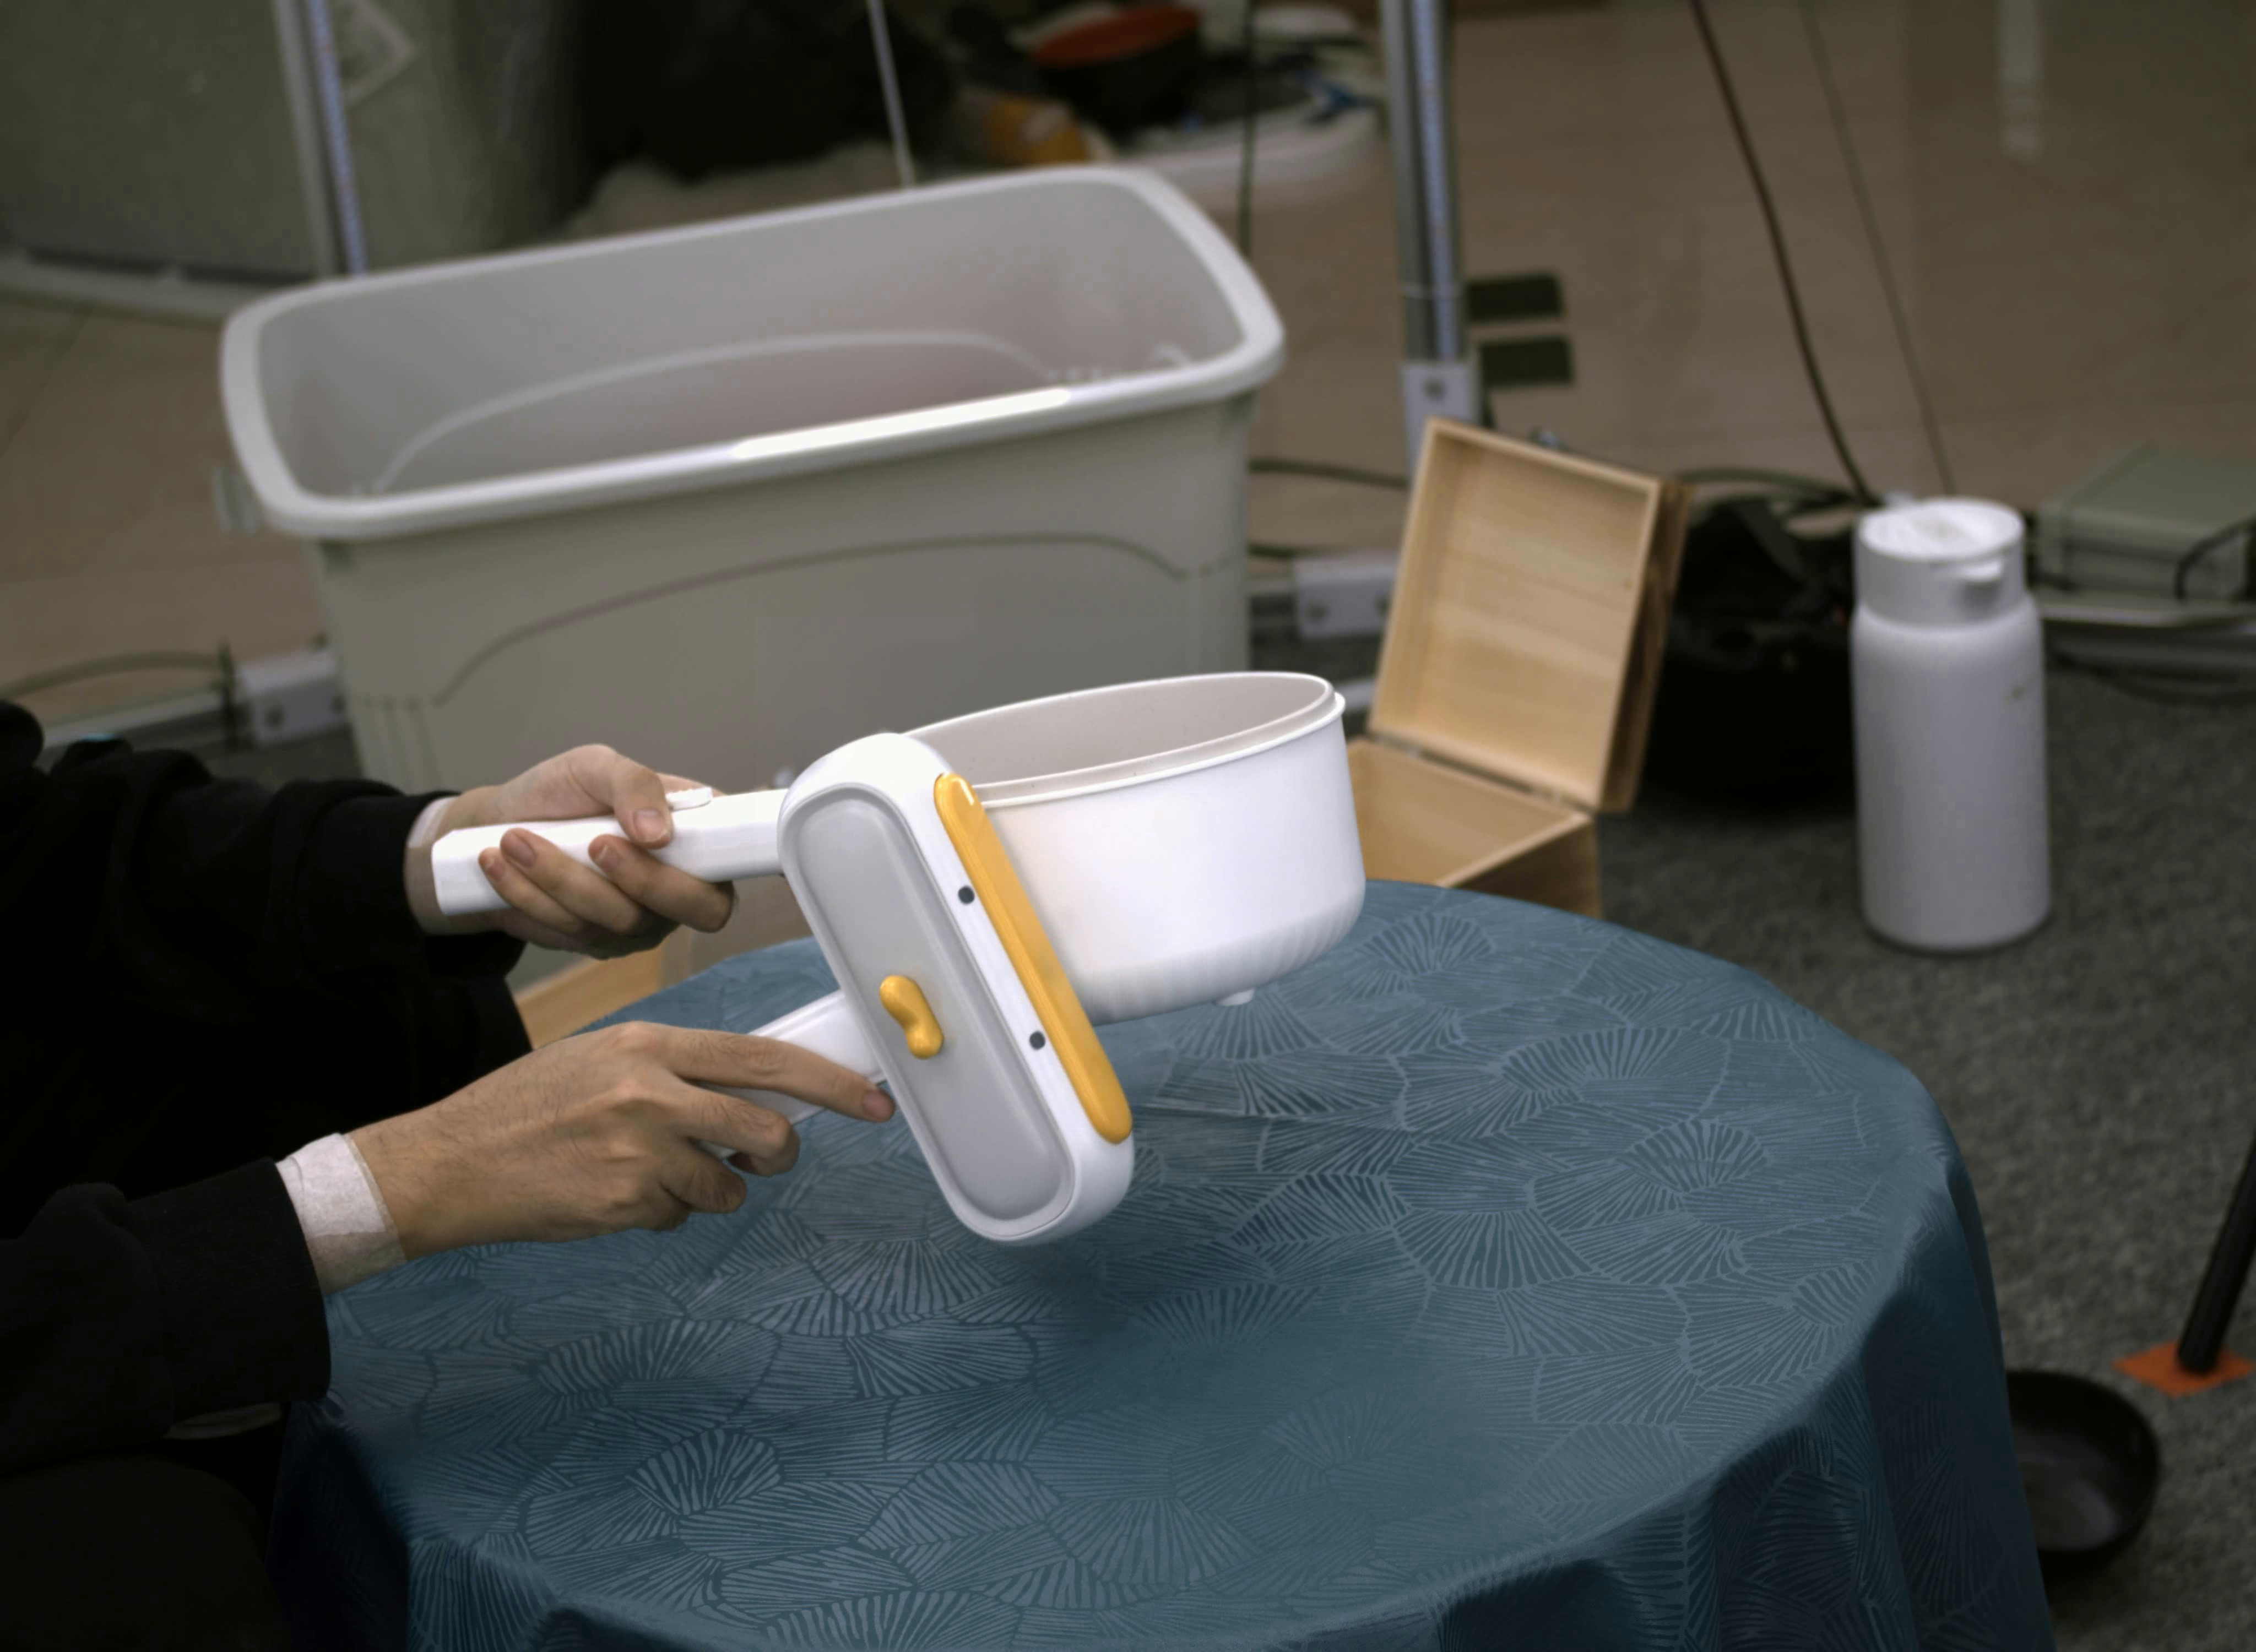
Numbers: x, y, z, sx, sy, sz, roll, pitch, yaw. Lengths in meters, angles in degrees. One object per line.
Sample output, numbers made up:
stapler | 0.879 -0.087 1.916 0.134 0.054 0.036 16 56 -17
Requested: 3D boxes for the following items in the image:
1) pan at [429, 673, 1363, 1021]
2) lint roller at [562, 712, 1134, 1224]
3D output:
pan | -0.086 0.023 2.135 0.354 0.103 0.200 -9 9 12
lint roller | -0.115 0.080 2.027 0.193 0.194 0.073 -29 9 20
